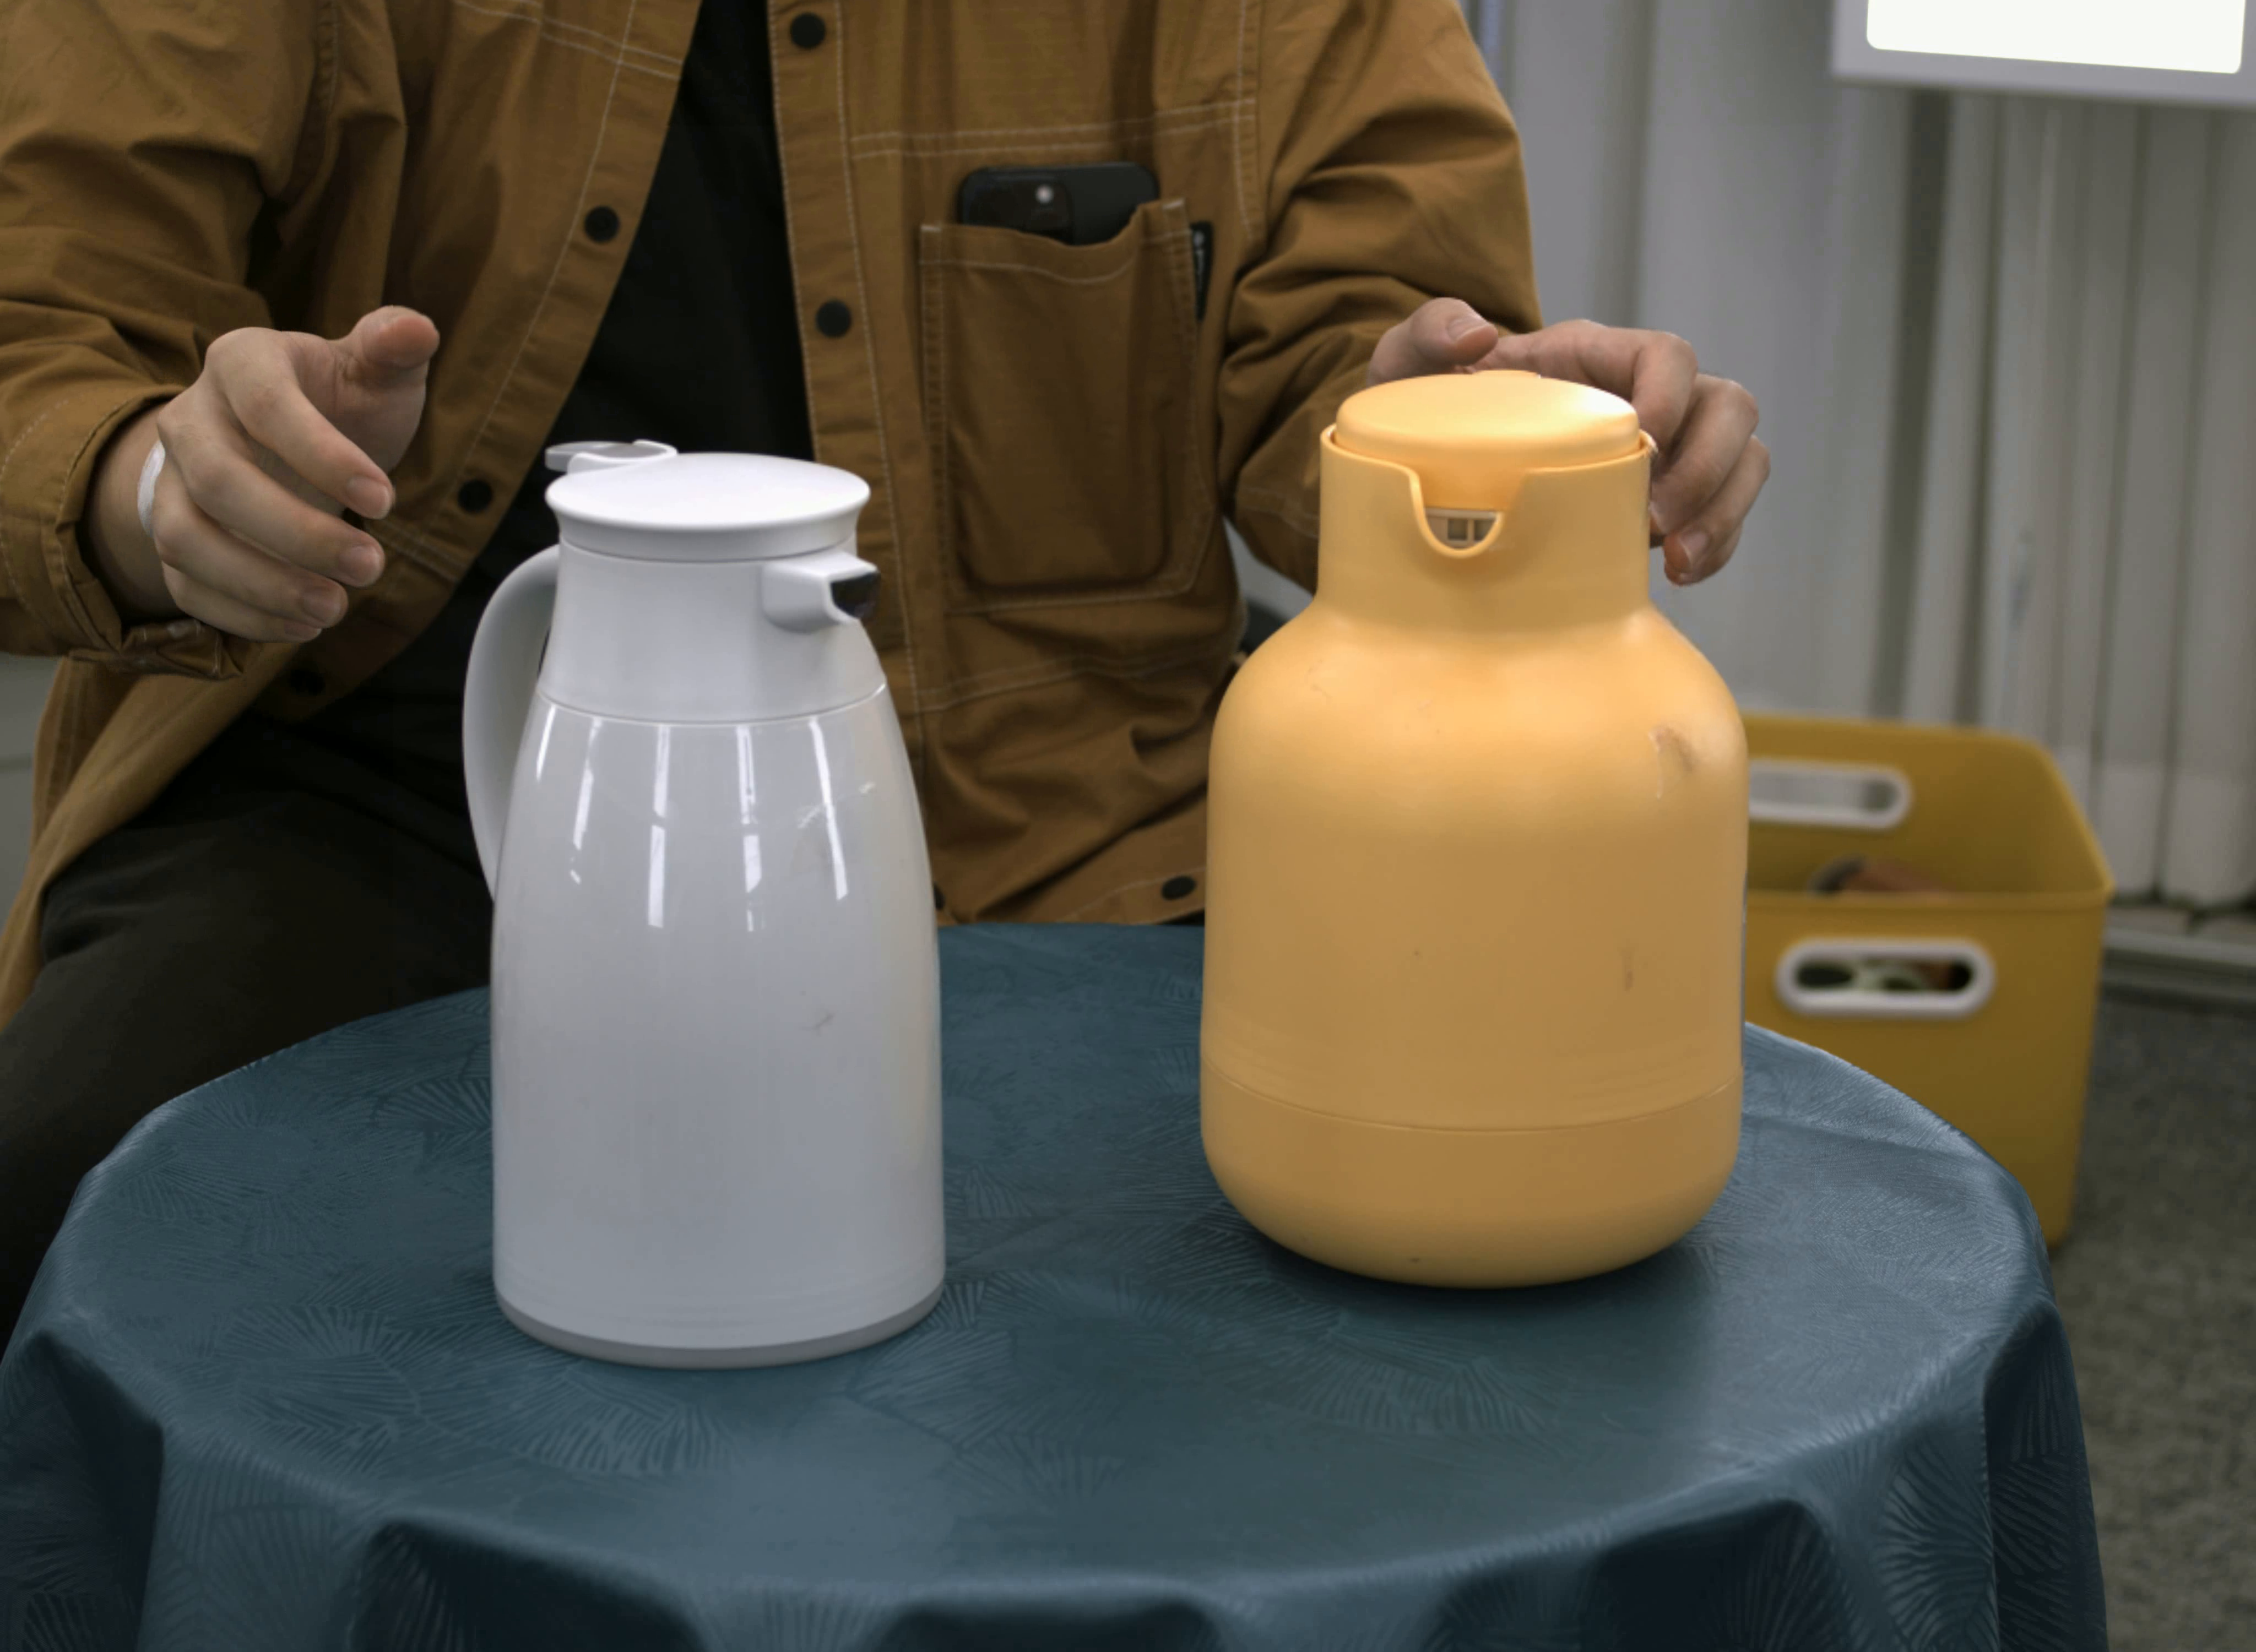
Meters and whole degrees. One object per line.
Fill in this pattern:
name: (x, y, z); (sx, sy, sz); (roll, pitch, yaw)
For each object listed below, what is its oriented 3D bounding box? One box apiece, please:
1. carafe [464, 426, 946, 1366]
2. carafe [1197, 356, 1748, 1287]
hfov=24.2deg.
carafe: (-0.132, 0.012, 1.512); (0.133, 0.250, 0.165); (-16, 22, -43)
carafe: (0.108, -0.009, 1.574); (0.162, 0.262, 0.202); (5, 18, 10)
